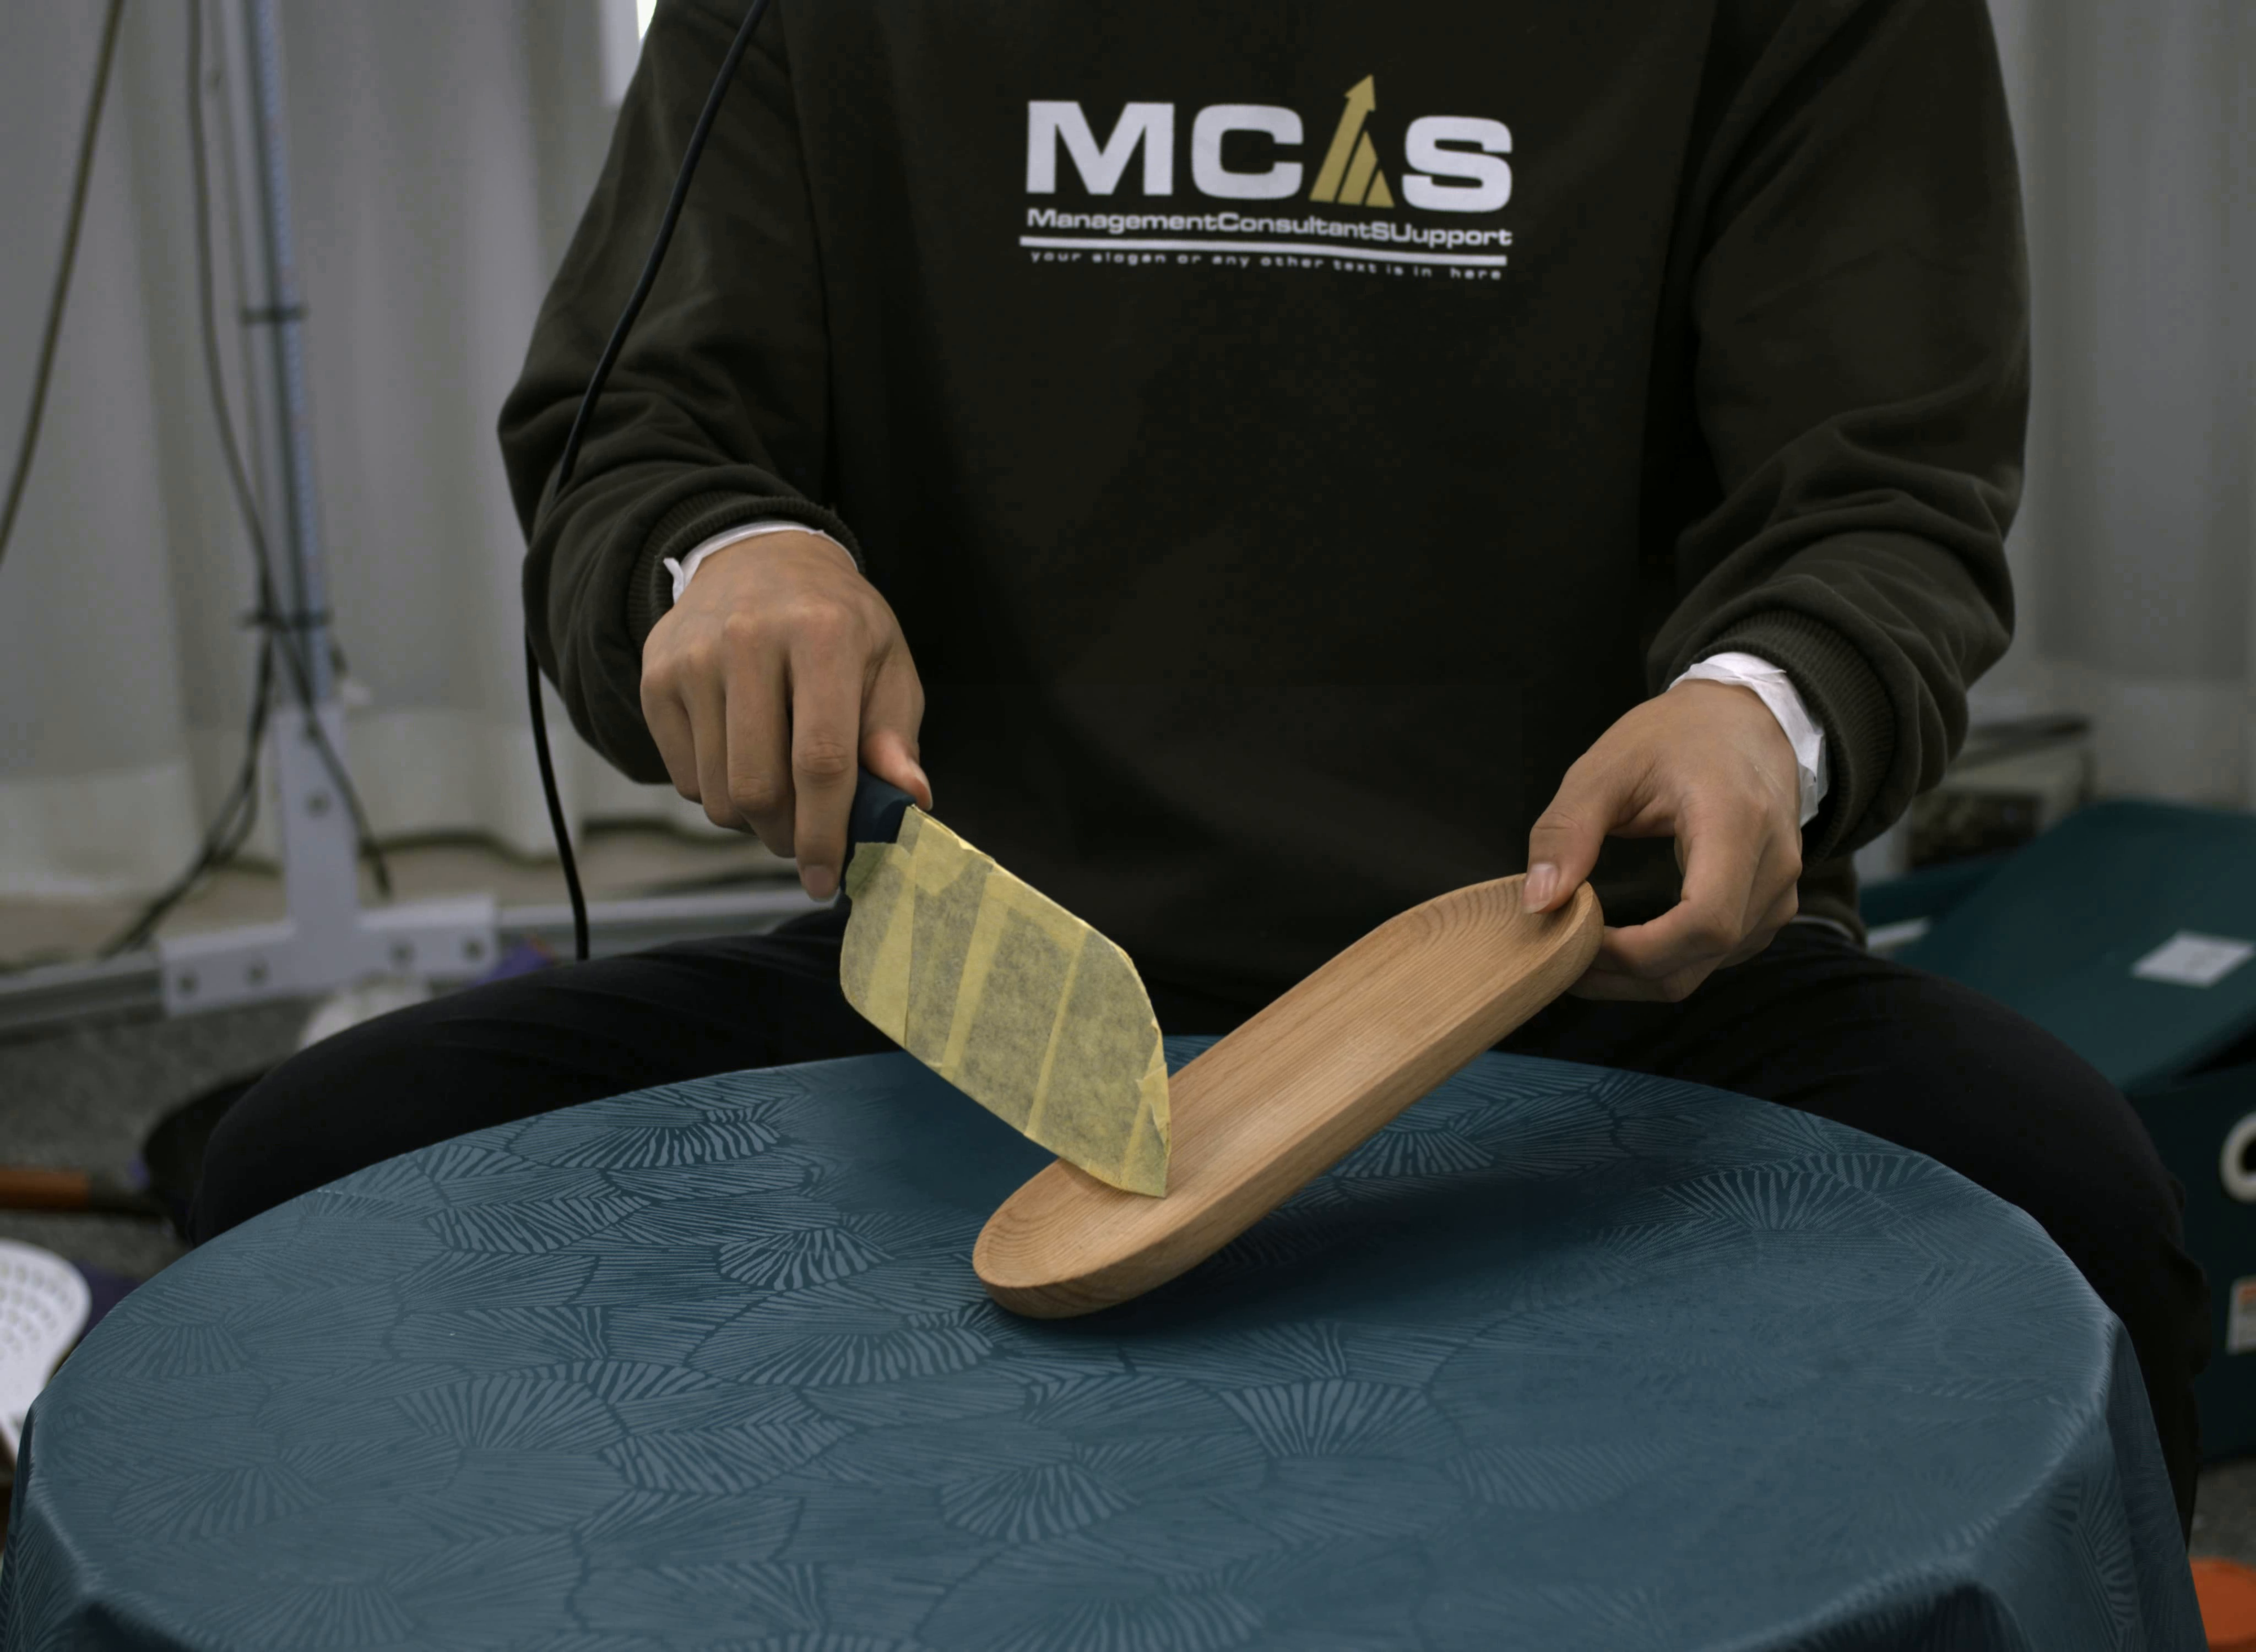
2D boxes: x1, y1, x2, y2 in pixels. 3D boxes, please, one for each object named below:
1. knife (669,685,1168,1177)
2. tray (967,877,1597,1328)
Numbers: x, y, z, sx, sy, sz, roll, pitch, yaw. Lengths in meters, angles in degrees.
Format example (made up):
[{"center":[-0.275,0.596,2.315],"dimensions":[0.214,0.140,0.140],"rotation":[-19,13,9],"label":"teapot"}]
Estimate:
[{"center":[-0.069,0.029,1.723],"dimensions":[0.027,0.080,0.293],"rotation":[5,22,-39],"label":"knife"},{"center":[0.049,0.082,1.648],"dimensions":[0.232,0.020,0.102],"rotation":[-36,18,-24],"label":"tray"}]
